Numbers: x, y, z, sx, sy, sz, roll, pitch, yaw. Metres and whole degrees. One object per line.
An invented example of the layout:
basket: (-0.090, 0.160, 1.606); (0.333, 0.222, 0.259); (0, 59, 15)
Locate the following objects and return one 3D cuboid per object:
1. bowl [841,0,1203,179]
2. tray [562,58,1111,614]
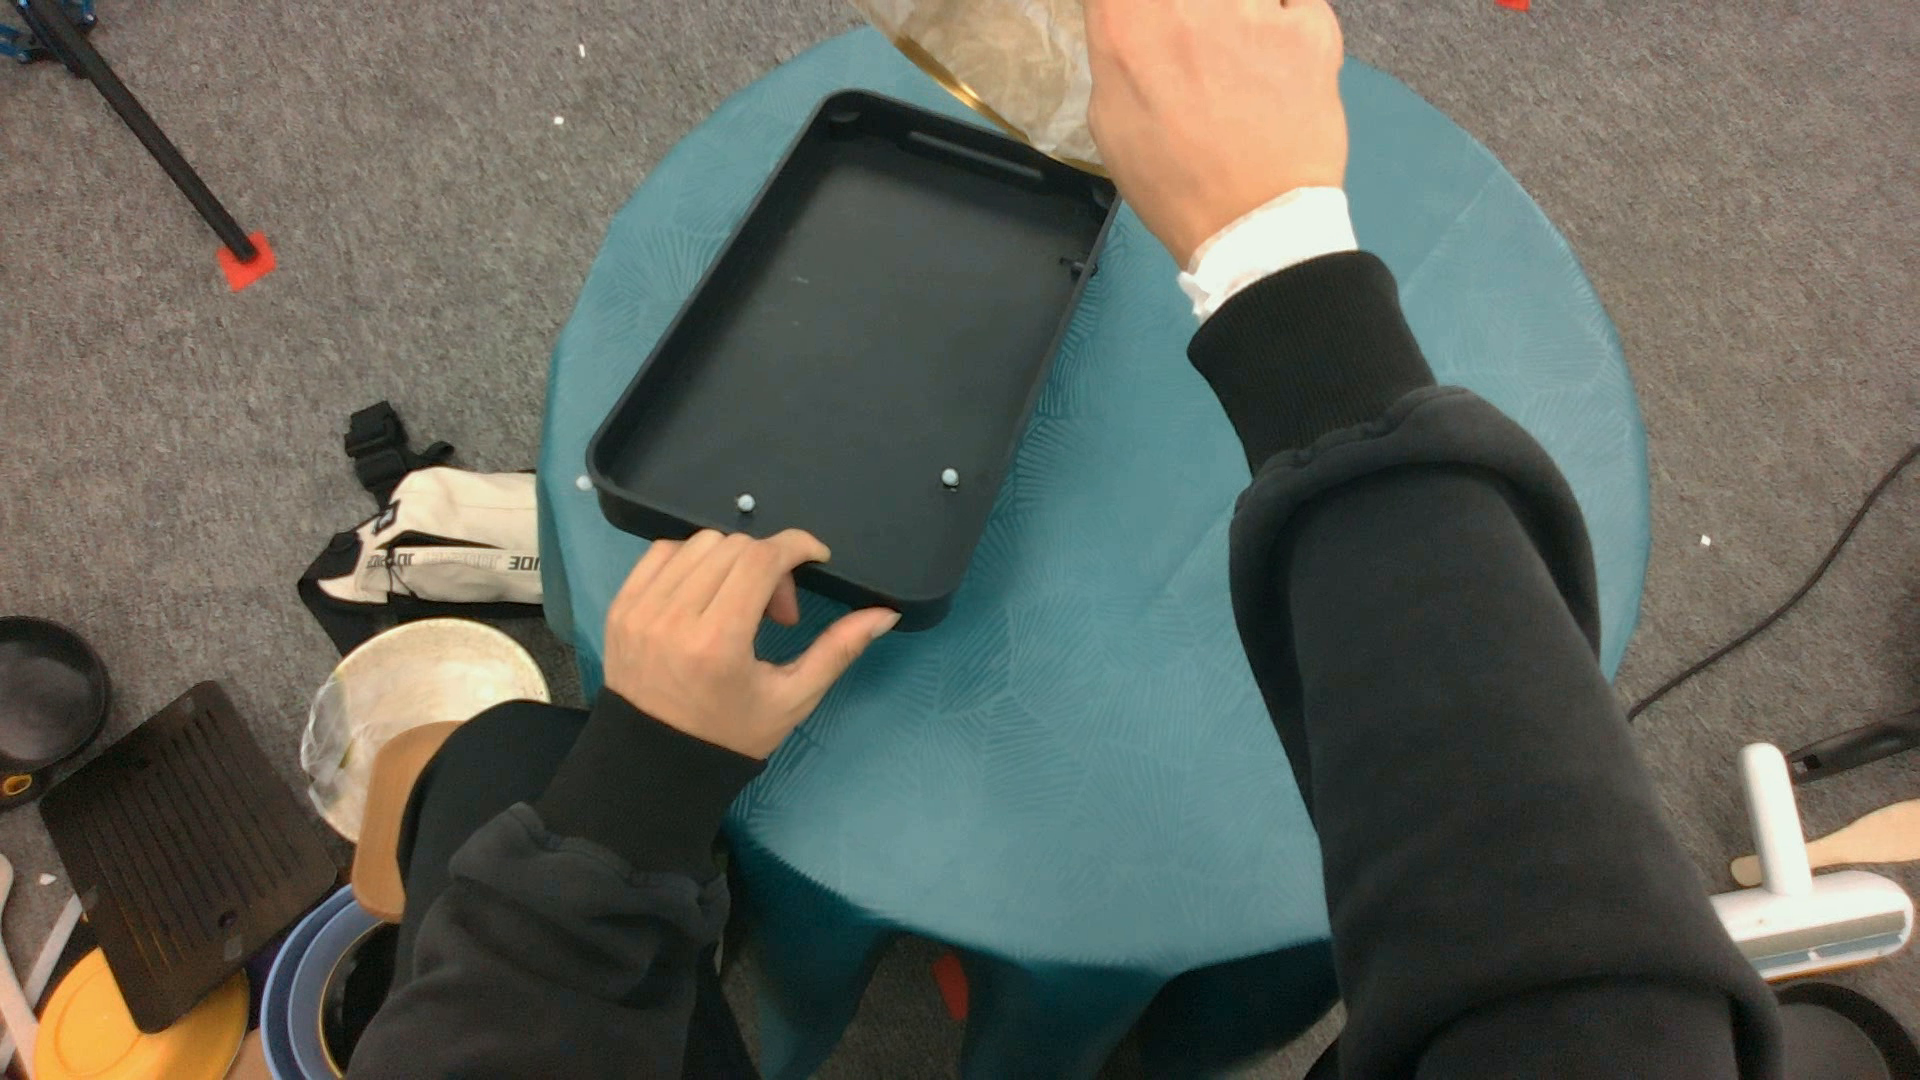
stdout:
bowl: (0.026, -0.249, 0.568); (0.215, 0.214, 0.094); (35, 88, 12)
tray: (-0.051, -0.120, 0.711); (0.184, 0.037, 0.319); (21, 56, 4)
